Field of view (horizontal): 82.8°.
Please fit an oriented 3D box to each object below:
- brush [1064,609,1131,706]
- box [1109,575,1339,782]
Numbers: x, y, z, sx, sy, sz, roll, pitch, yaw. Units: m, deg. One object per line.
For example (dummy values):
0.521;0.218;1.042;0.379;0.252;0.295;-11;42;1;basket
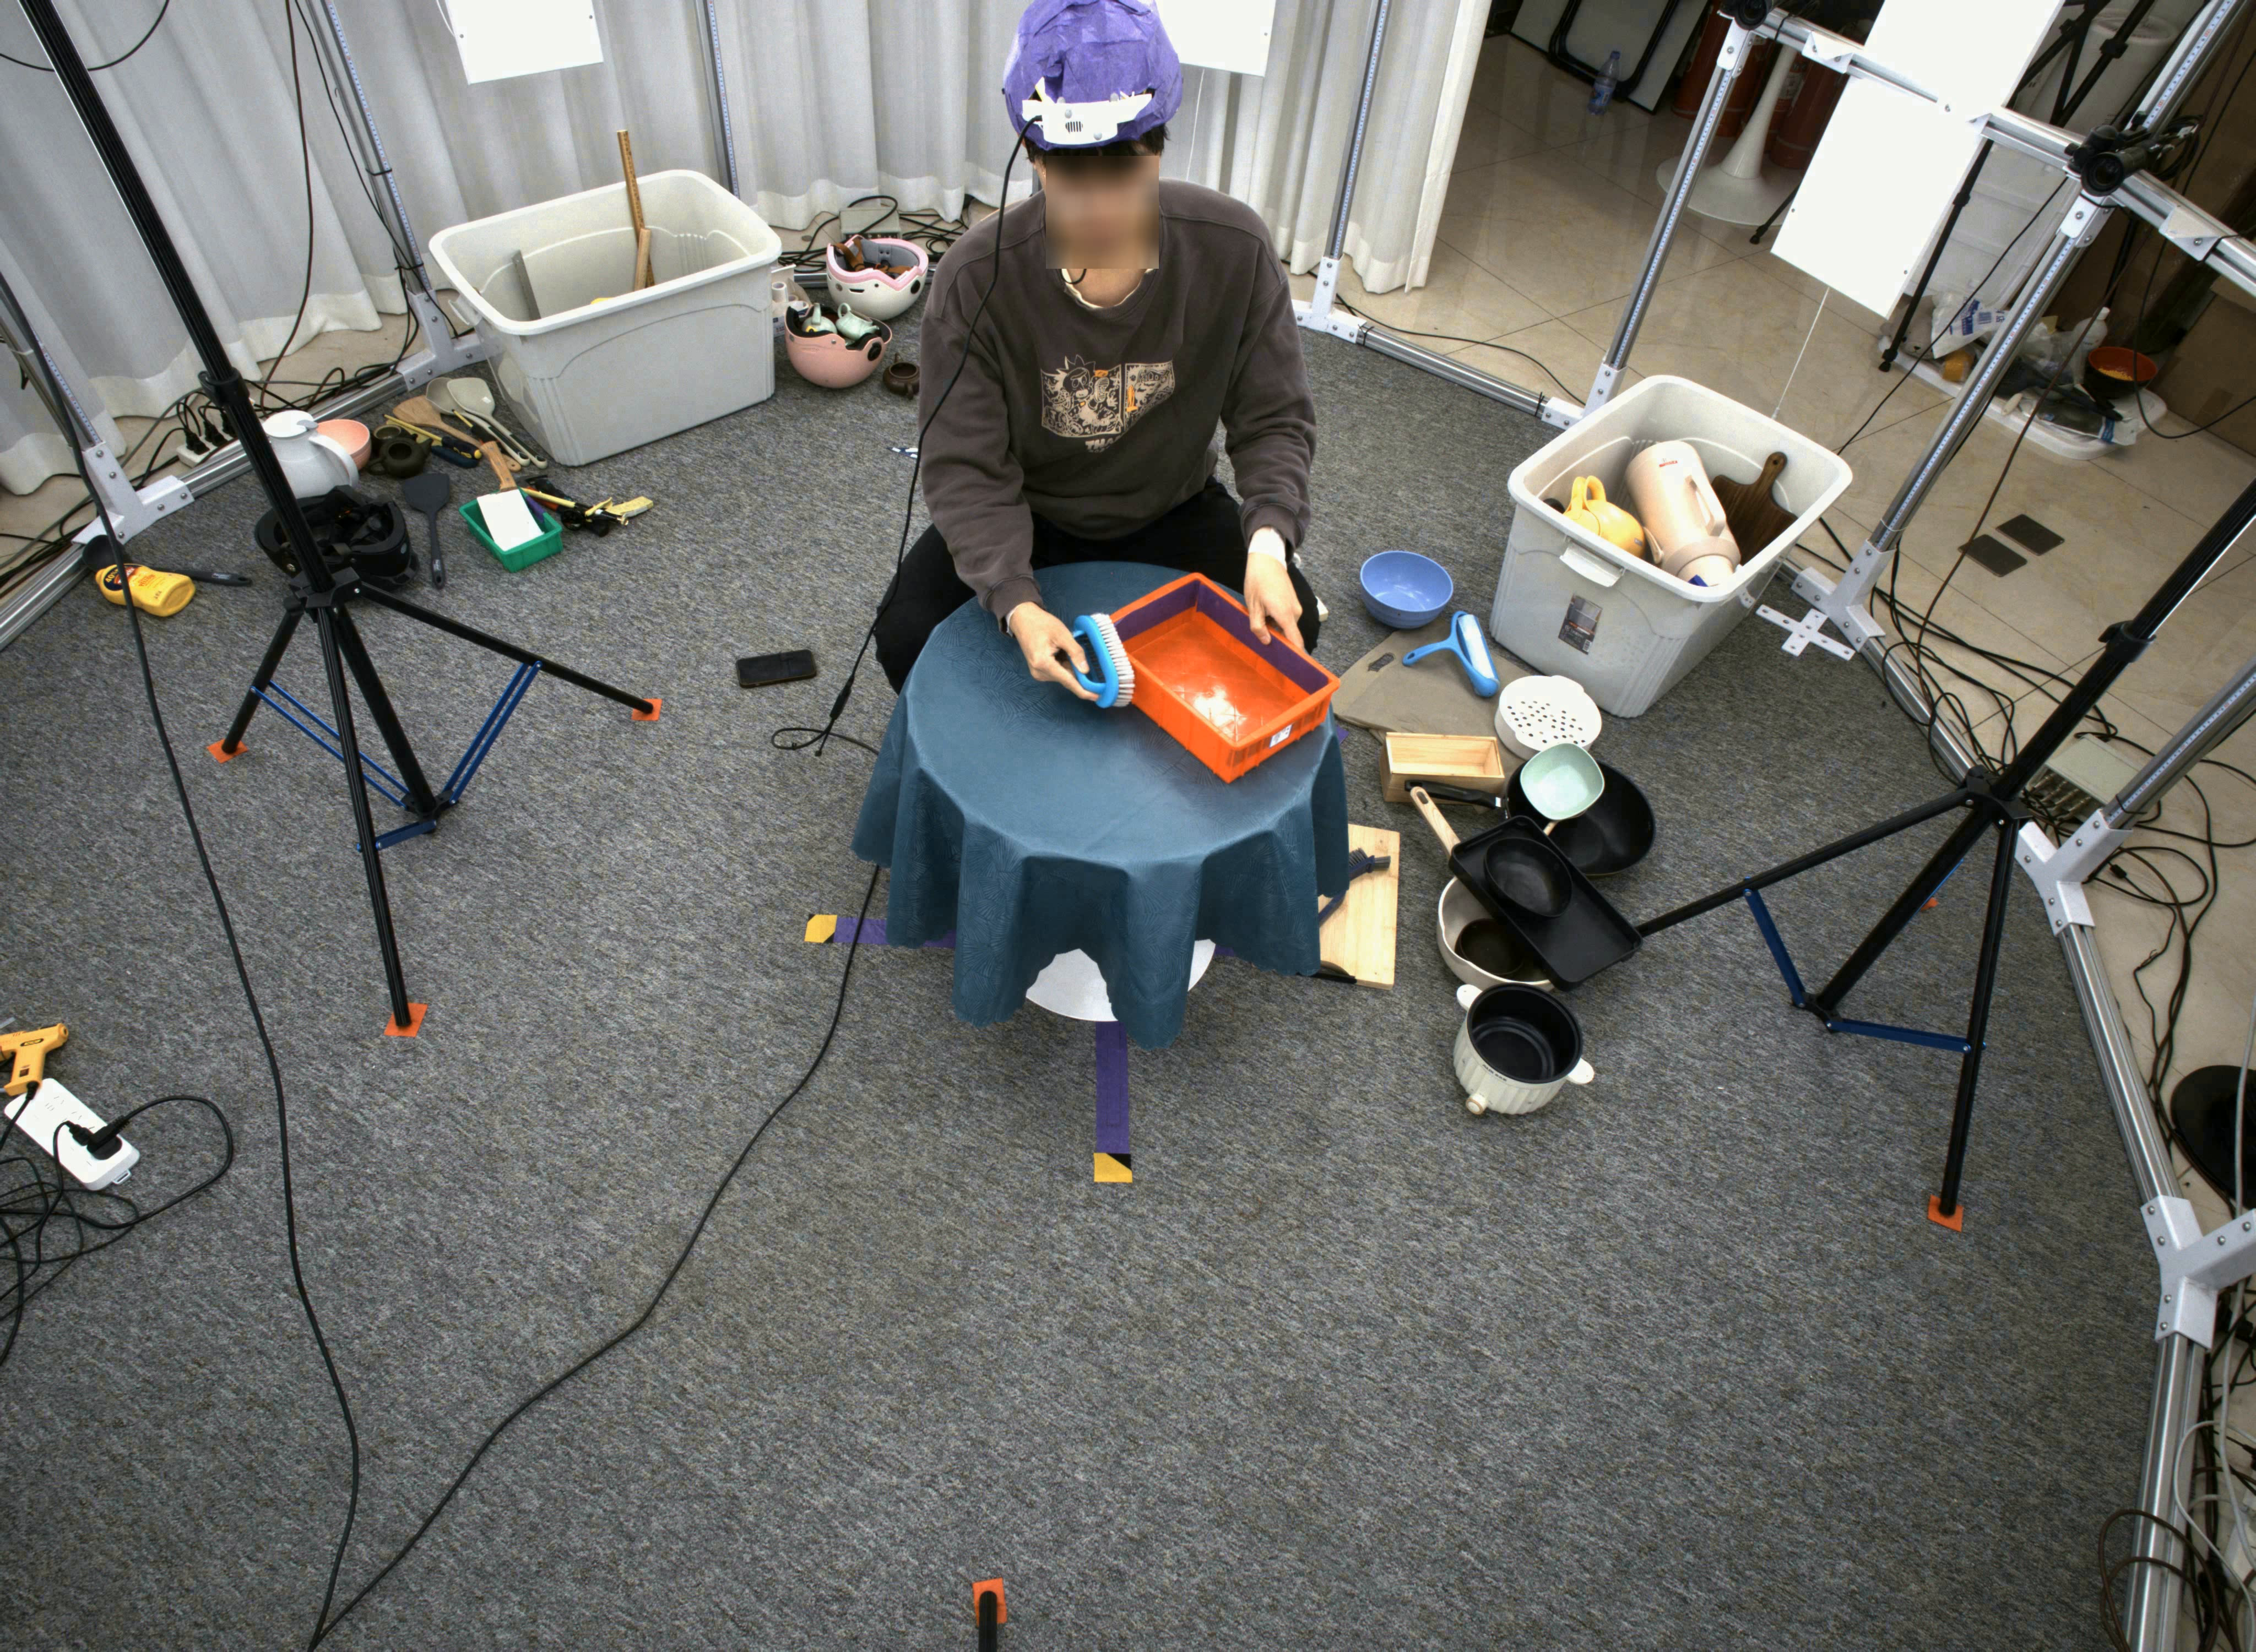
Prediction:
-0.050;-0.228;1.762;0.064;0.083;0.144;-10;71;-26;brush
0.117;-0.208;1.799;0.208;0.094;0.309;-31;58;-27;box
